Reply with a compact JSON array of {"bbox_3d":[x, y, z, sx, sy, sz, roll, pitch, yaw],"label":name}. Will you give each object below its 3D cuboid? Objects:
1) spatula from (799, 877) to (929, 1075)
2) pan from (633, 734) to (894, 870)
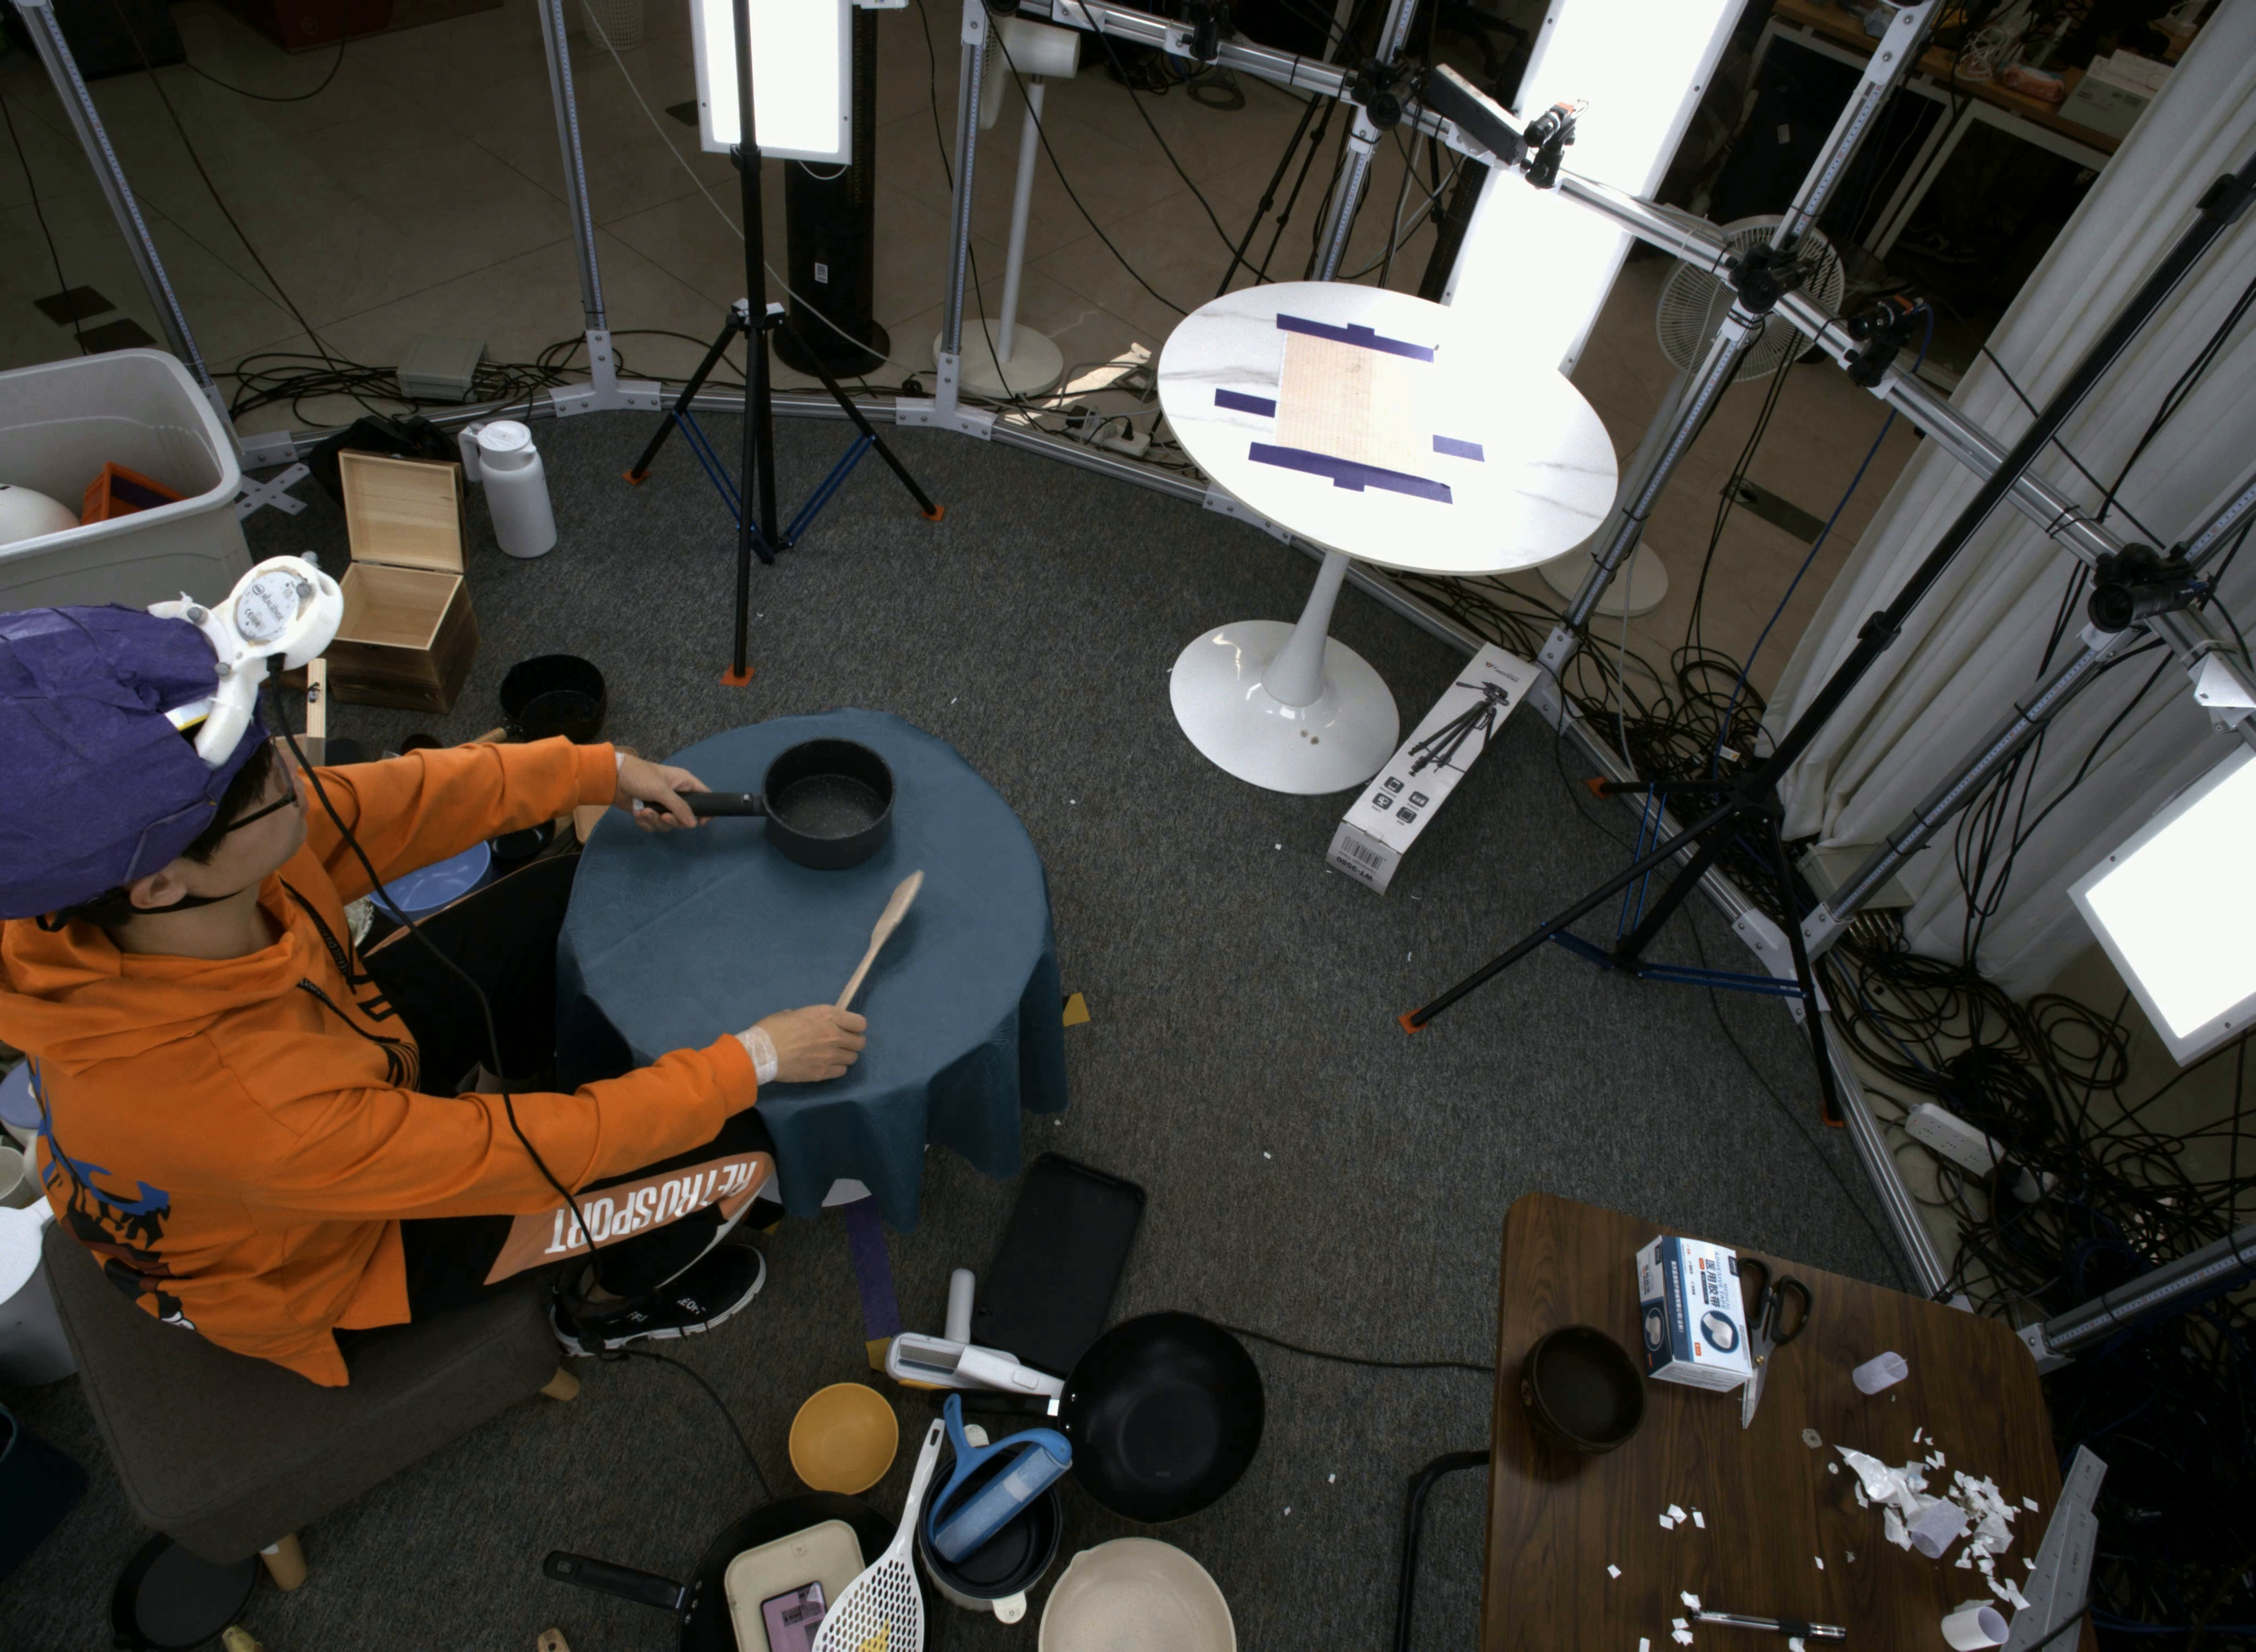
[{"bbox_3d":[-0.321,0.176,1.575,0.011,0.070,0.291,46,50,-26],"label":"spatula"},{"bbox_3d":[-0.468,-0.027,1.668,0.330,0.088,0.168,-3,53,-19],"label":"pan"}]
